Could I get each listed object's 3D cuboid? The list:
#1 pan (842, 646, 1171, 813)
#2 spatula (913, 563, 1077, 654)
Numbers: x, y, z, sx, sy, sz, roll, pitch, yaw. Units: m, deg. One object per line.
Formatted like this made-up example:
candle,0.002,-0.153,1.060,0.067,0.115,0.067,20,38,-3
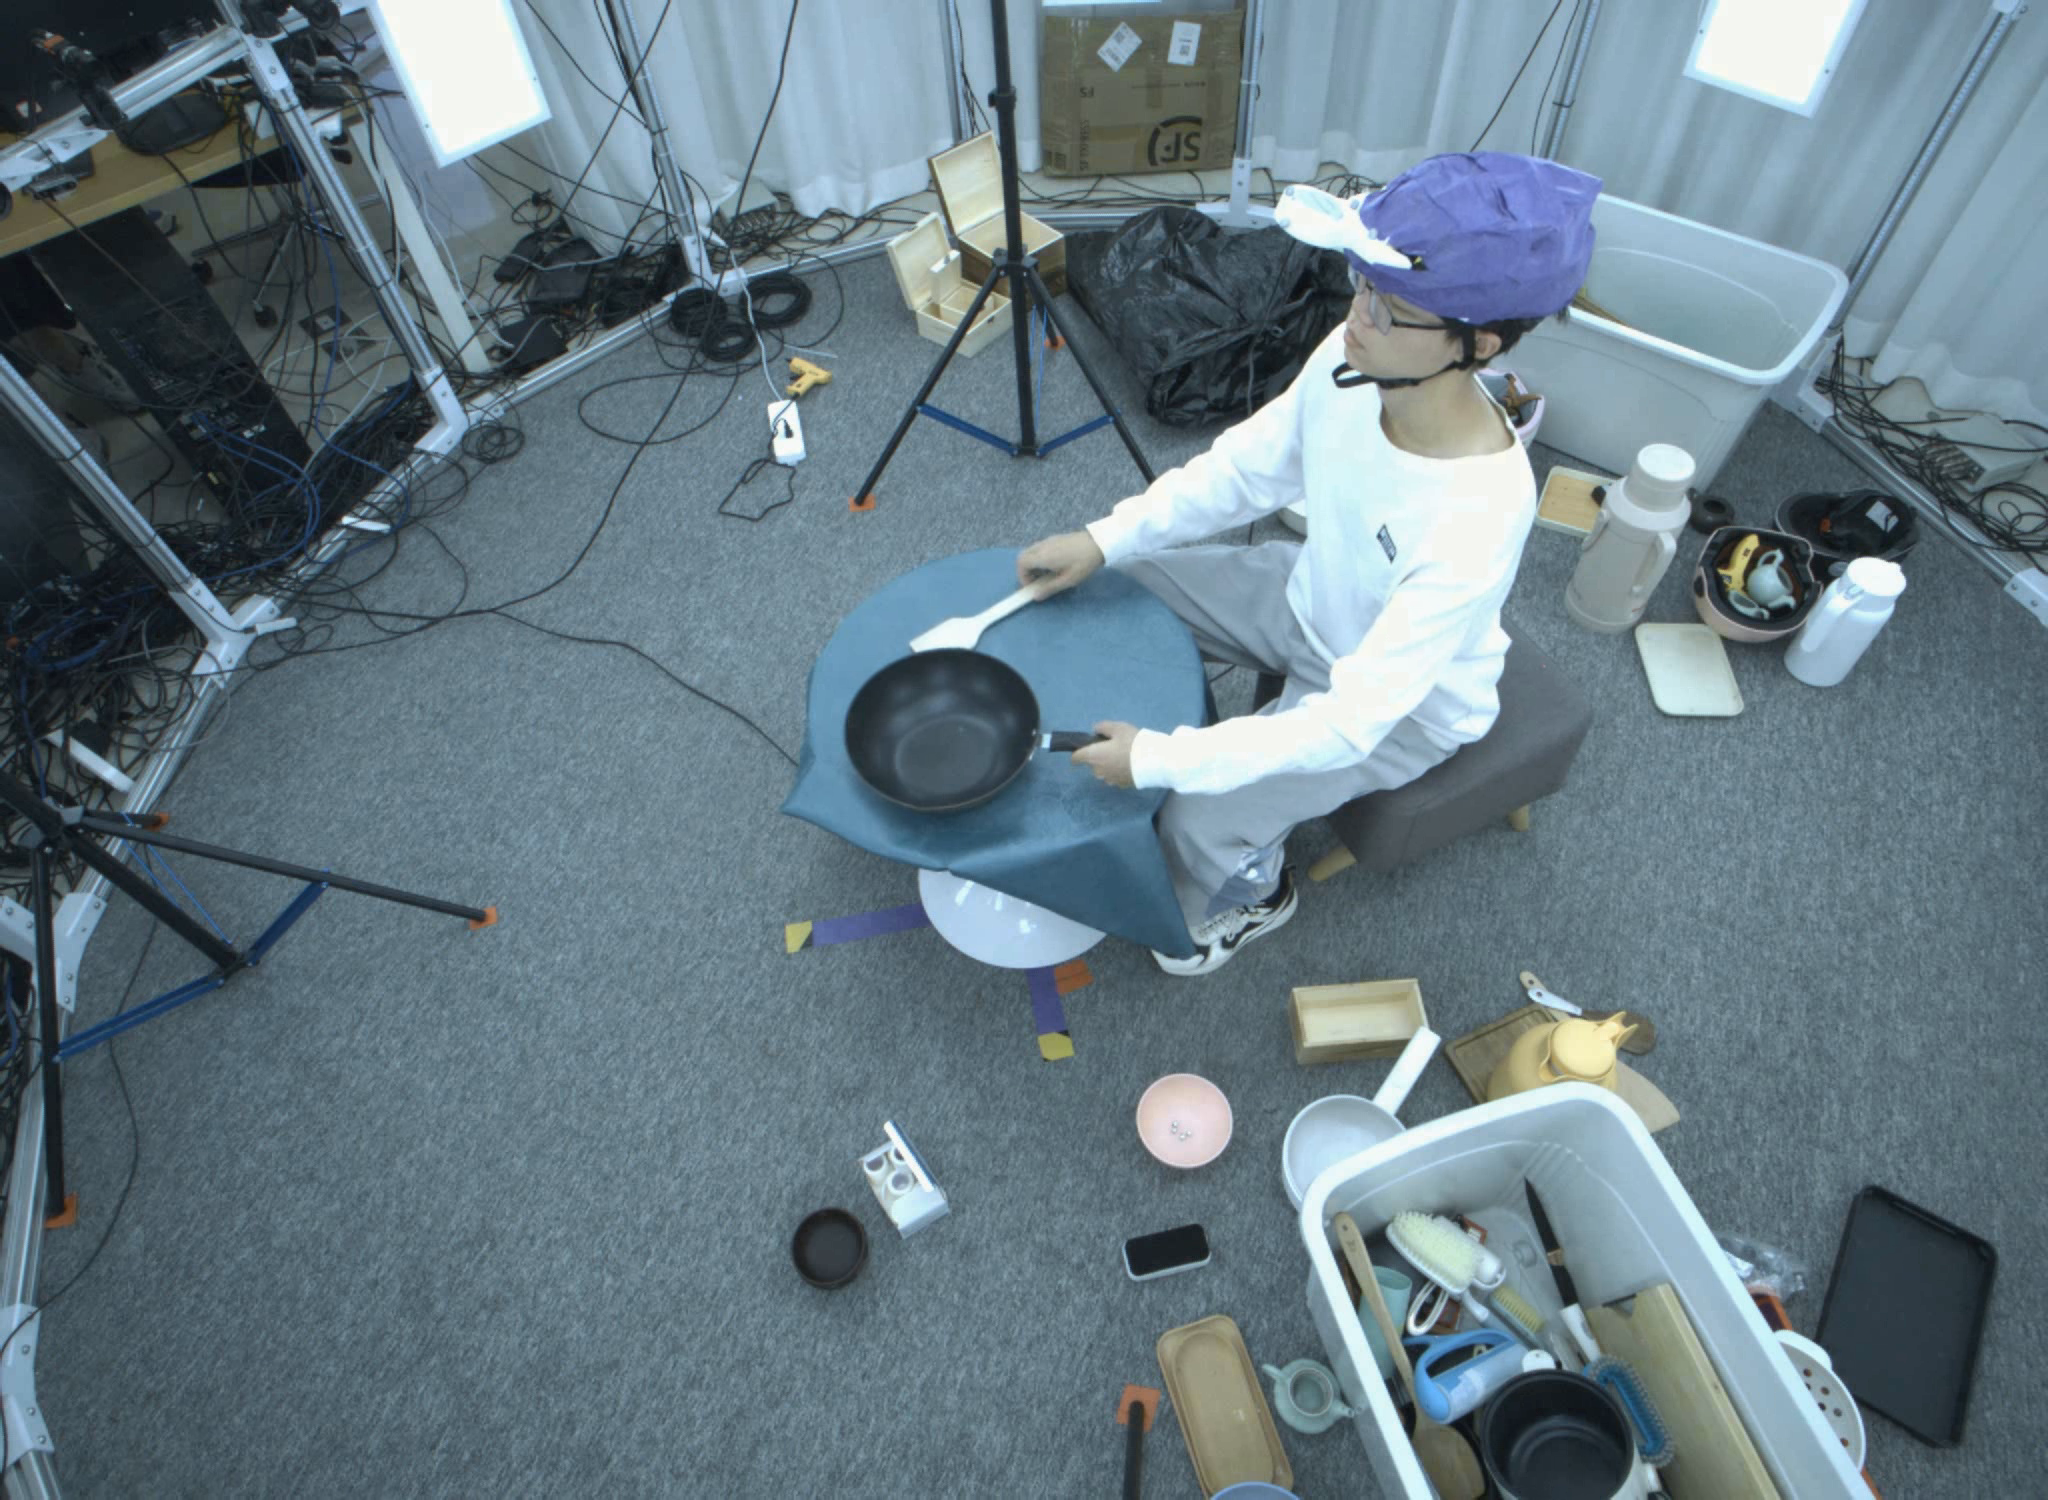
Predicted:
pan,-0.025,-0.005,1.738,0.461,0.088,0.286,8,56,6
spatula,-0.039,-0.219,1.932,0.295,0.011,0.071,-33,60,-16
